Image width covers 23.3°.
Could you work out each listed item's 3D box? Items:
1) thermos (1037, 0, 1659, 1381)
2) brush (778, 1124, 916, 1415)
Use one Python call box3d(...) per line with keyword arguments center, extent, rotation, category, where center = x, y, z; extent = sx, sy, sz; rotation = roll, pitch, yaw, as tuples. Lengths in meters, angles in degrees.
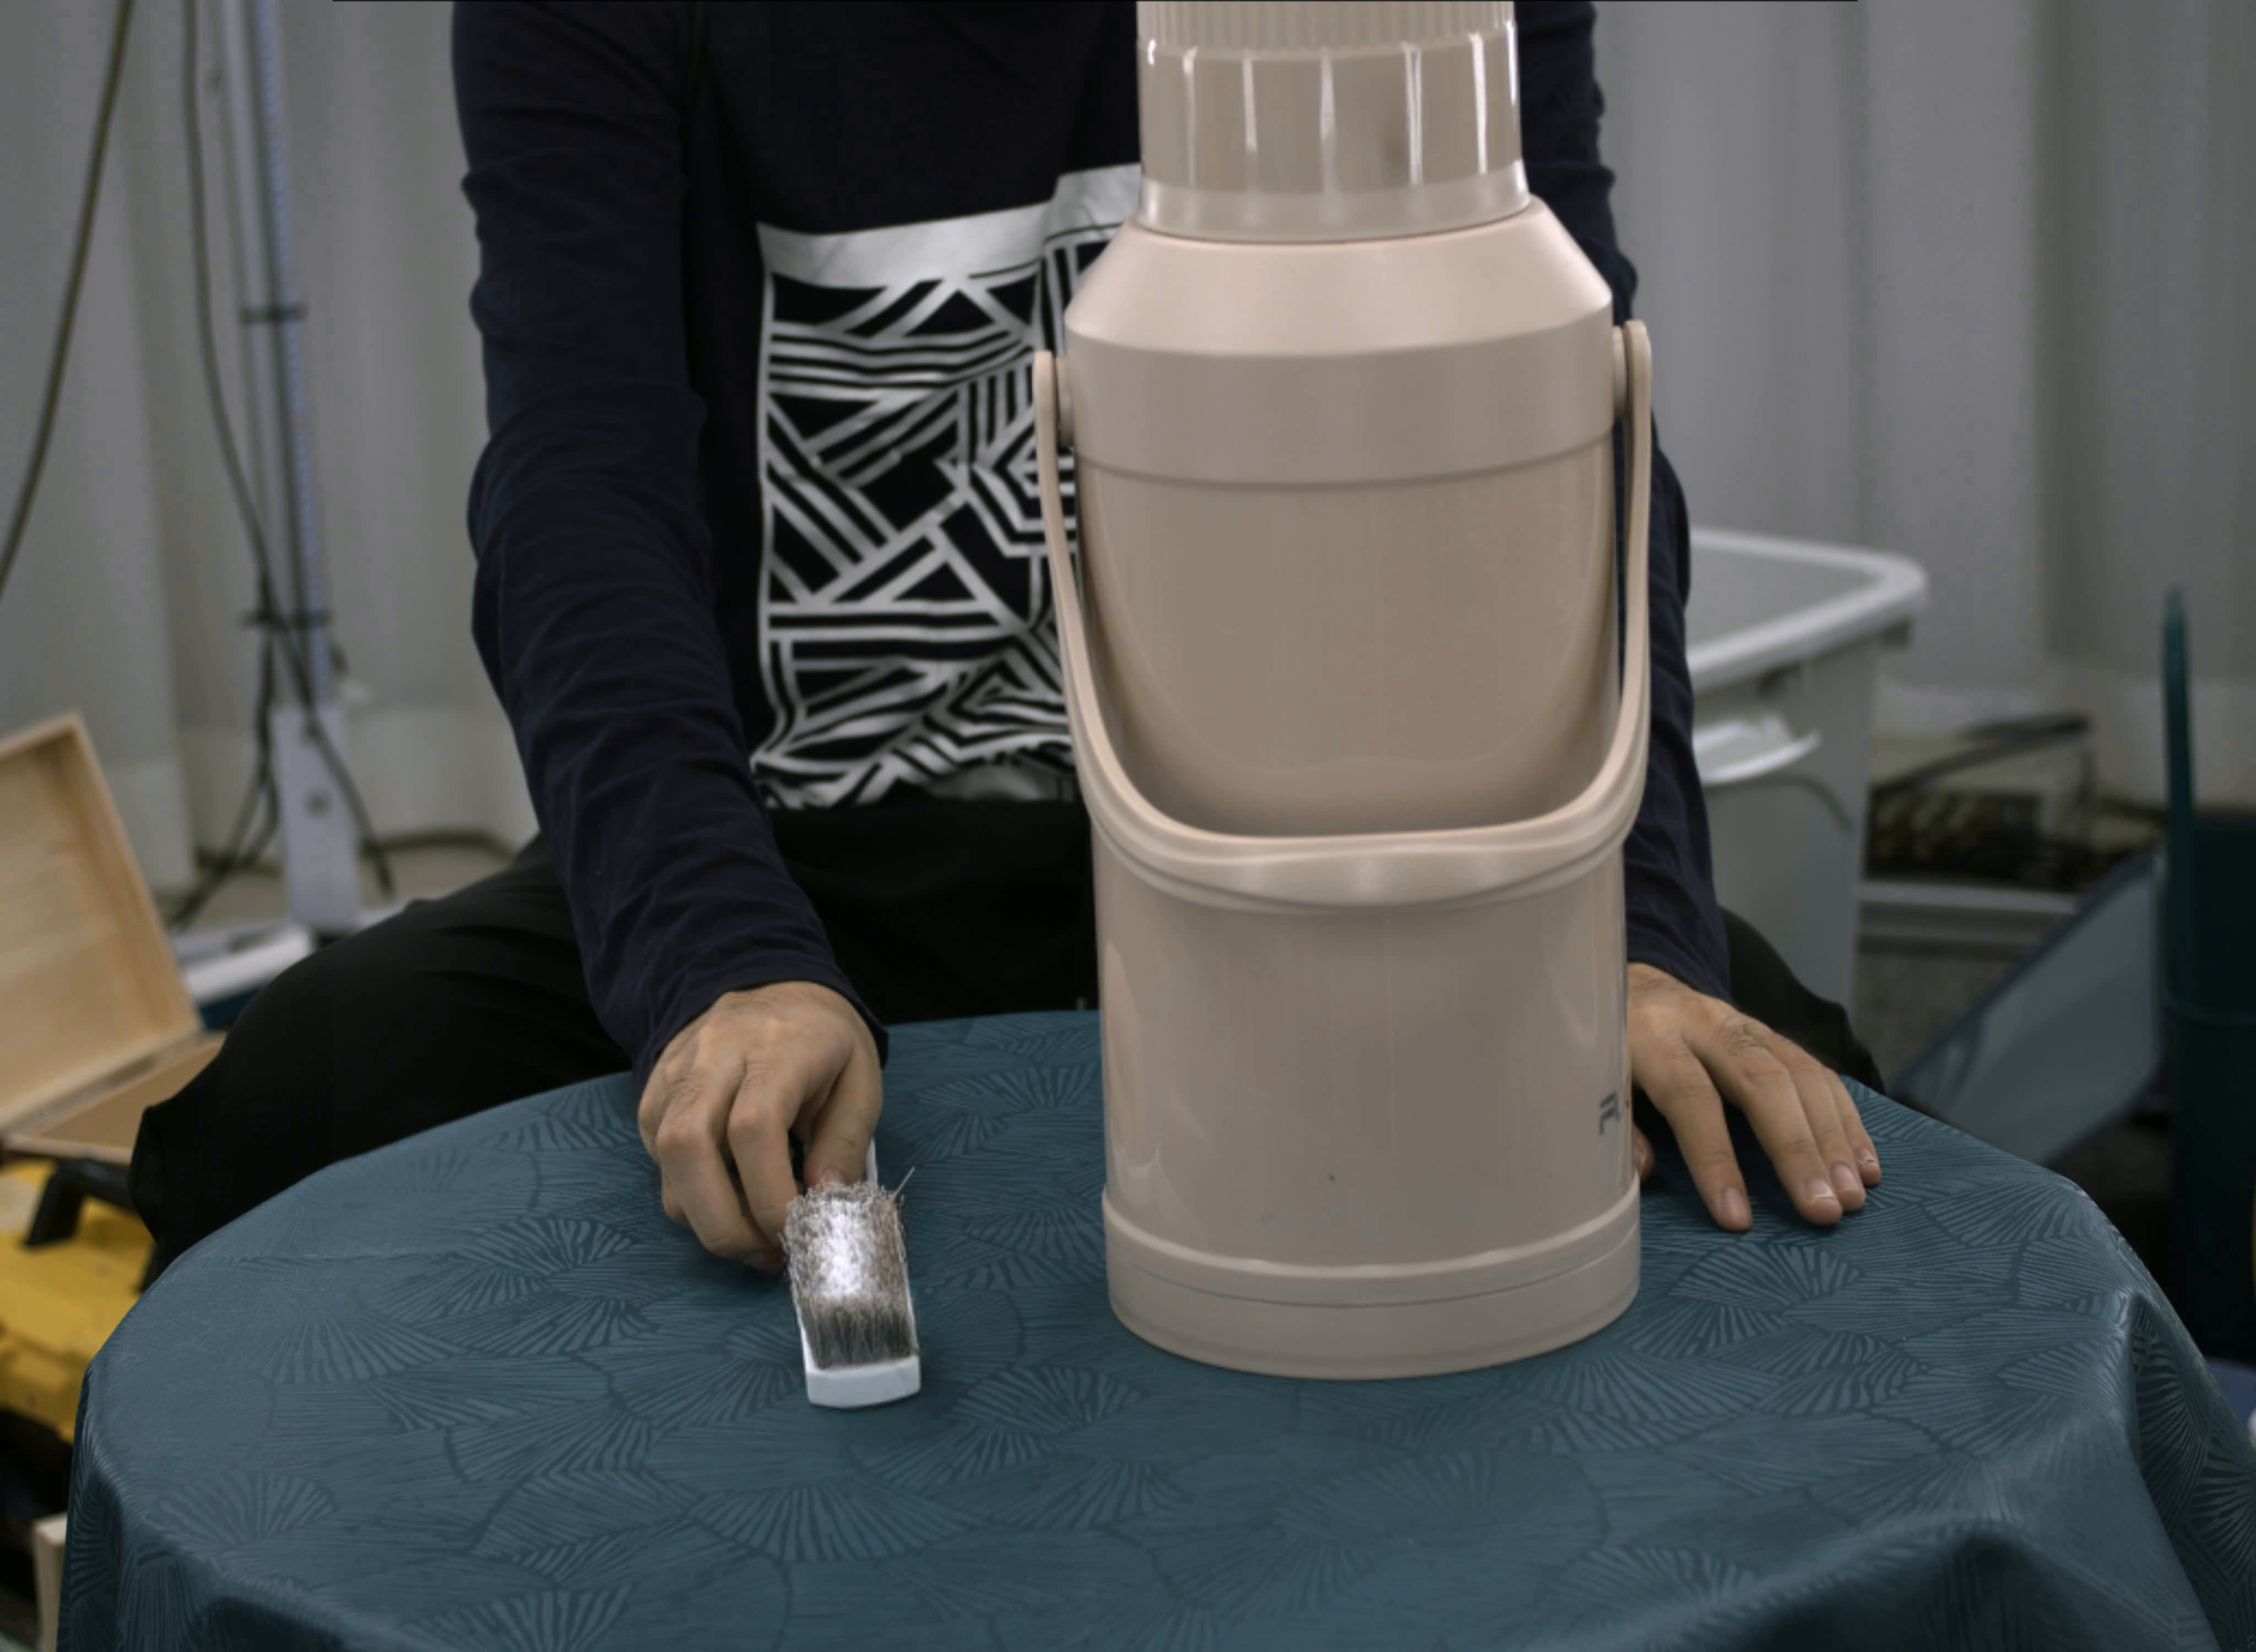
box3d(center=(0.067, -0.058, 1.586), extent=(0.175, 0.405, 0.208), rotation=(-5, 14, -1), category="thermos")
box3d(center=(-0.082, 0.113, 1.643), extent=(0.034, 0.050, 0.245), rotation=(-10, 15, 1), category="brush")
